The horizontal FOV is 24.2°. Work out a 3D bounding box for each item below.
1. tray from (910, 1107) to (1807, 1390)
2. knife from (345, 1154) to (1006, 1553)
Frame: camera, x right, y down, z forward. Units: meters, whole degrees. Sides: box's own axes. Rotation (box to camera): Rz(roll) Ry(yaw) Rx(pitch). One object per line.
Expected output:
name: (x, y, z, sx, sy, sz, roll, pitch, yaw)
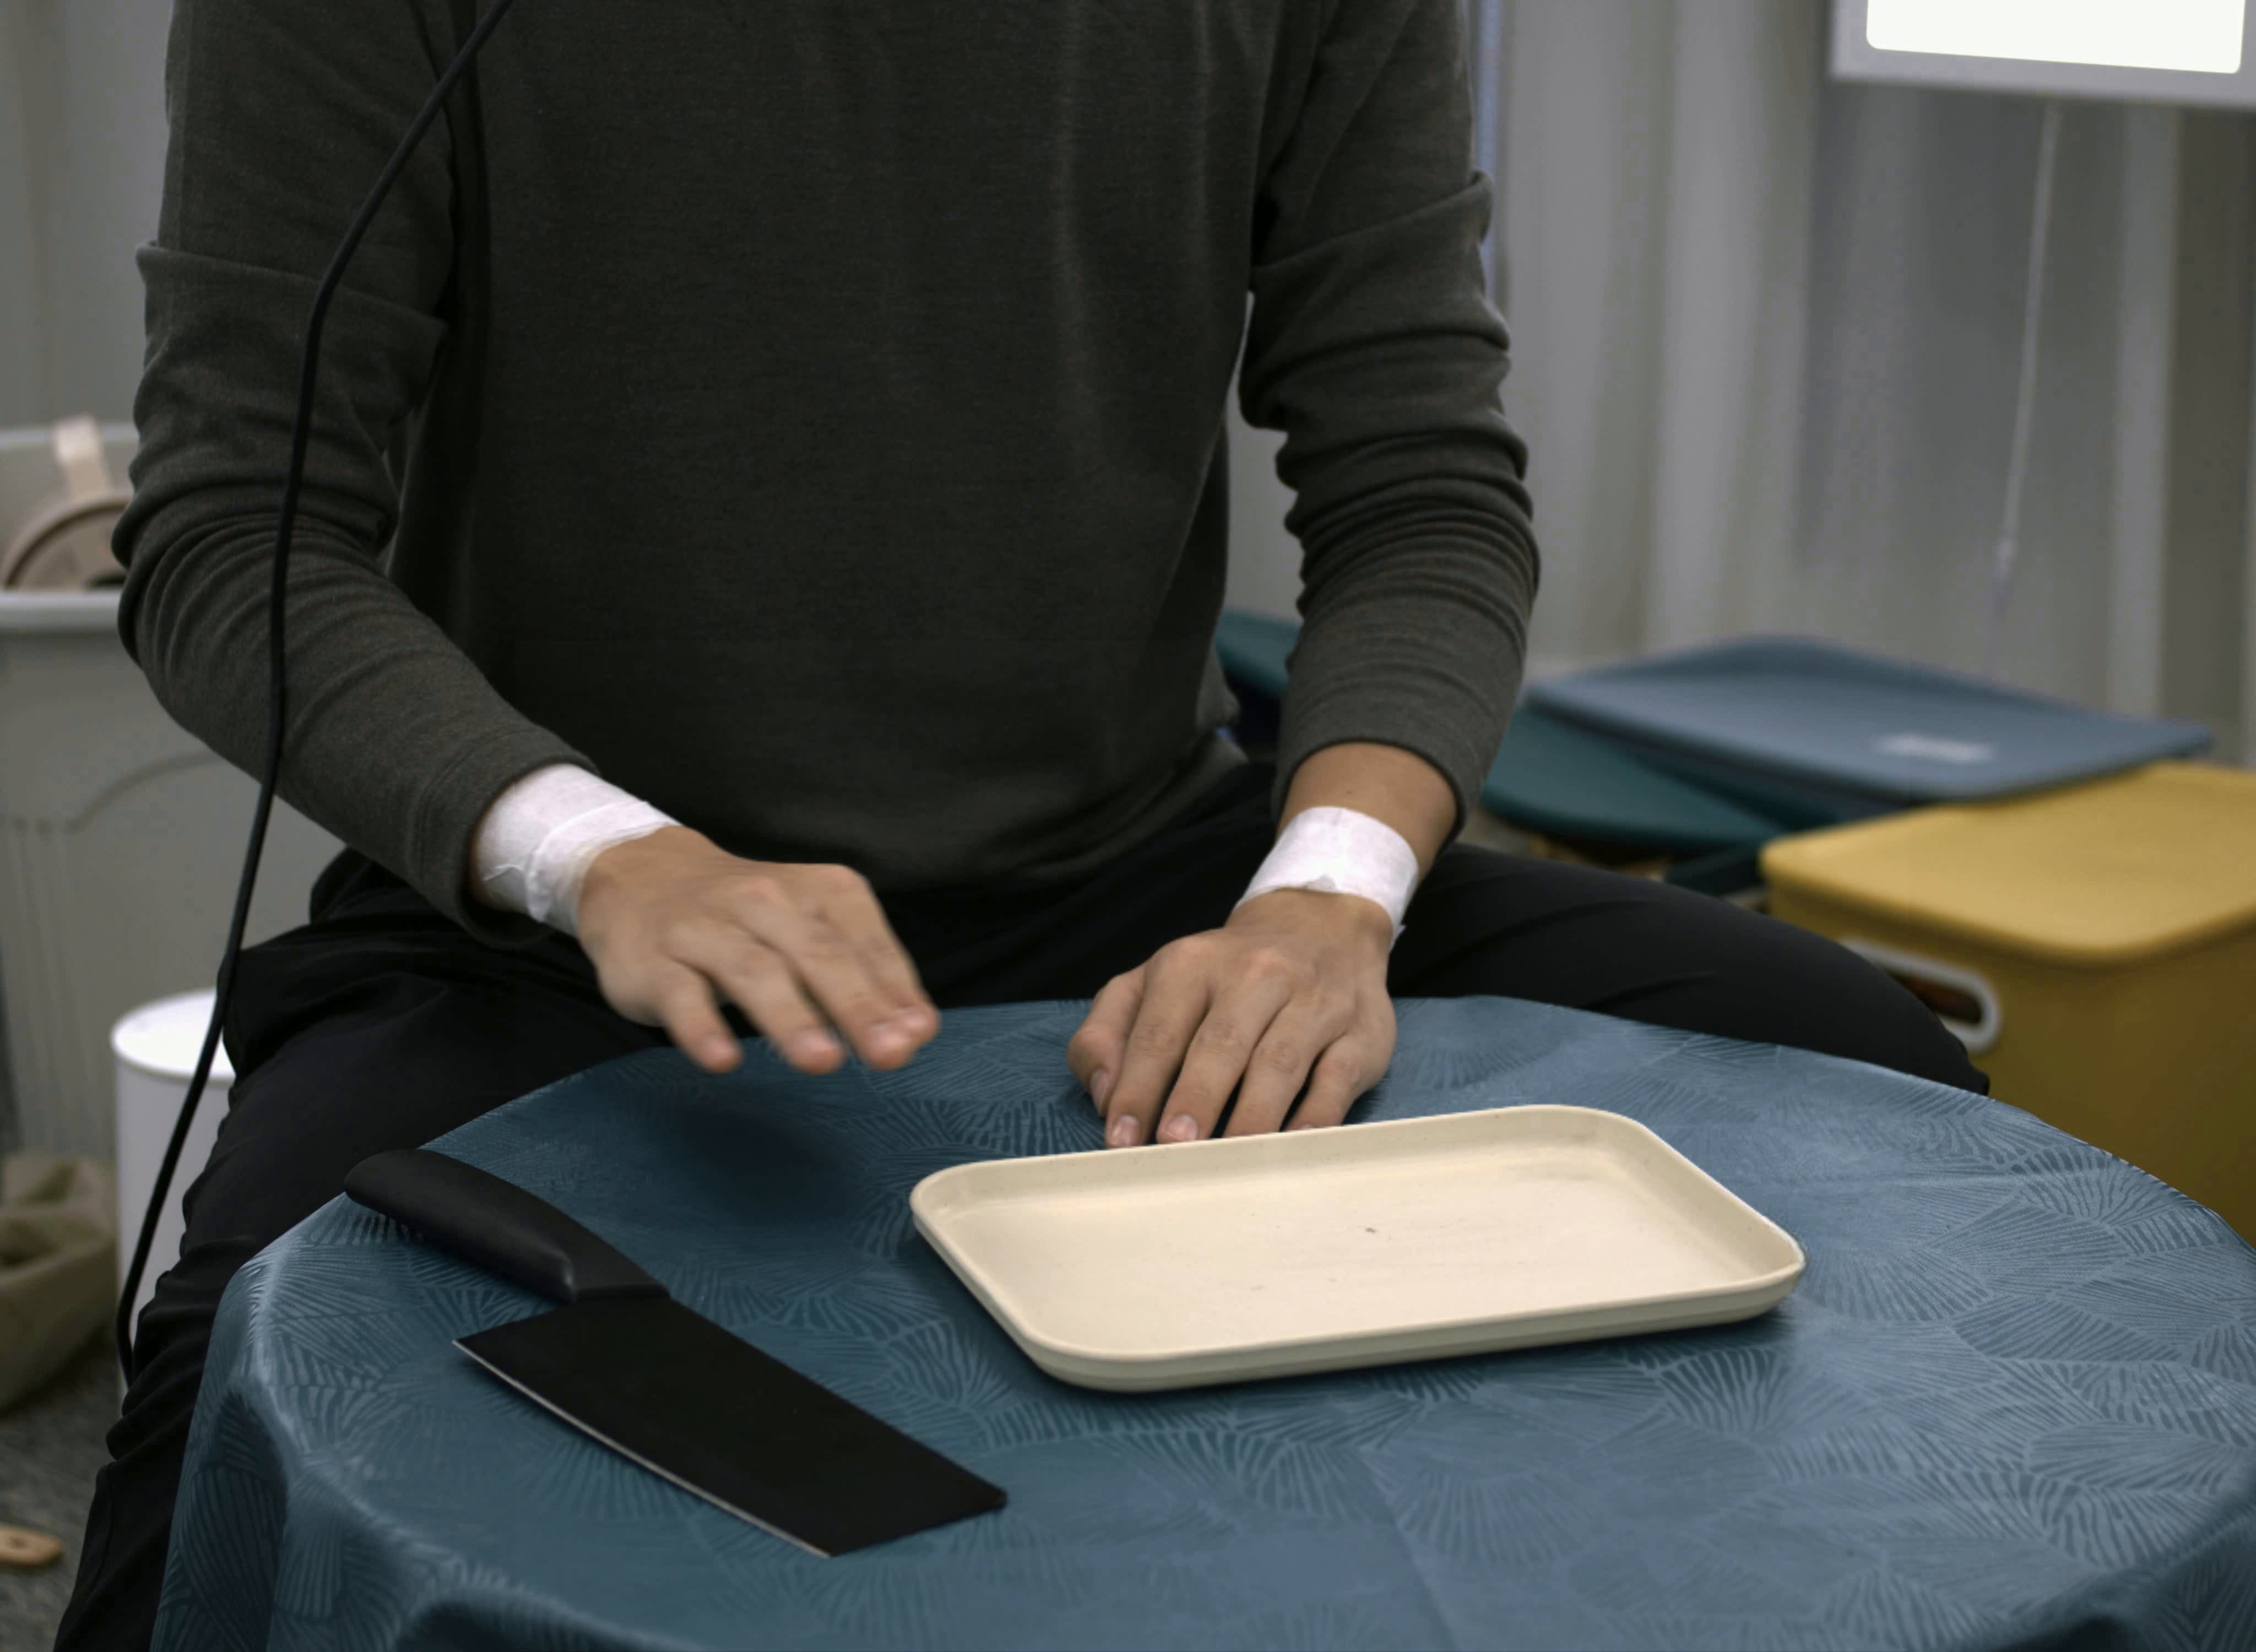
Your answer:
tray: (0.066, 0.124, 1.553, 0.240, 0.017, 0.169, -5, 16, -19)
knife: (-0.143, 0.145, 1.475, 0.081, 0.021, 0.298, -11, 21, -32)
